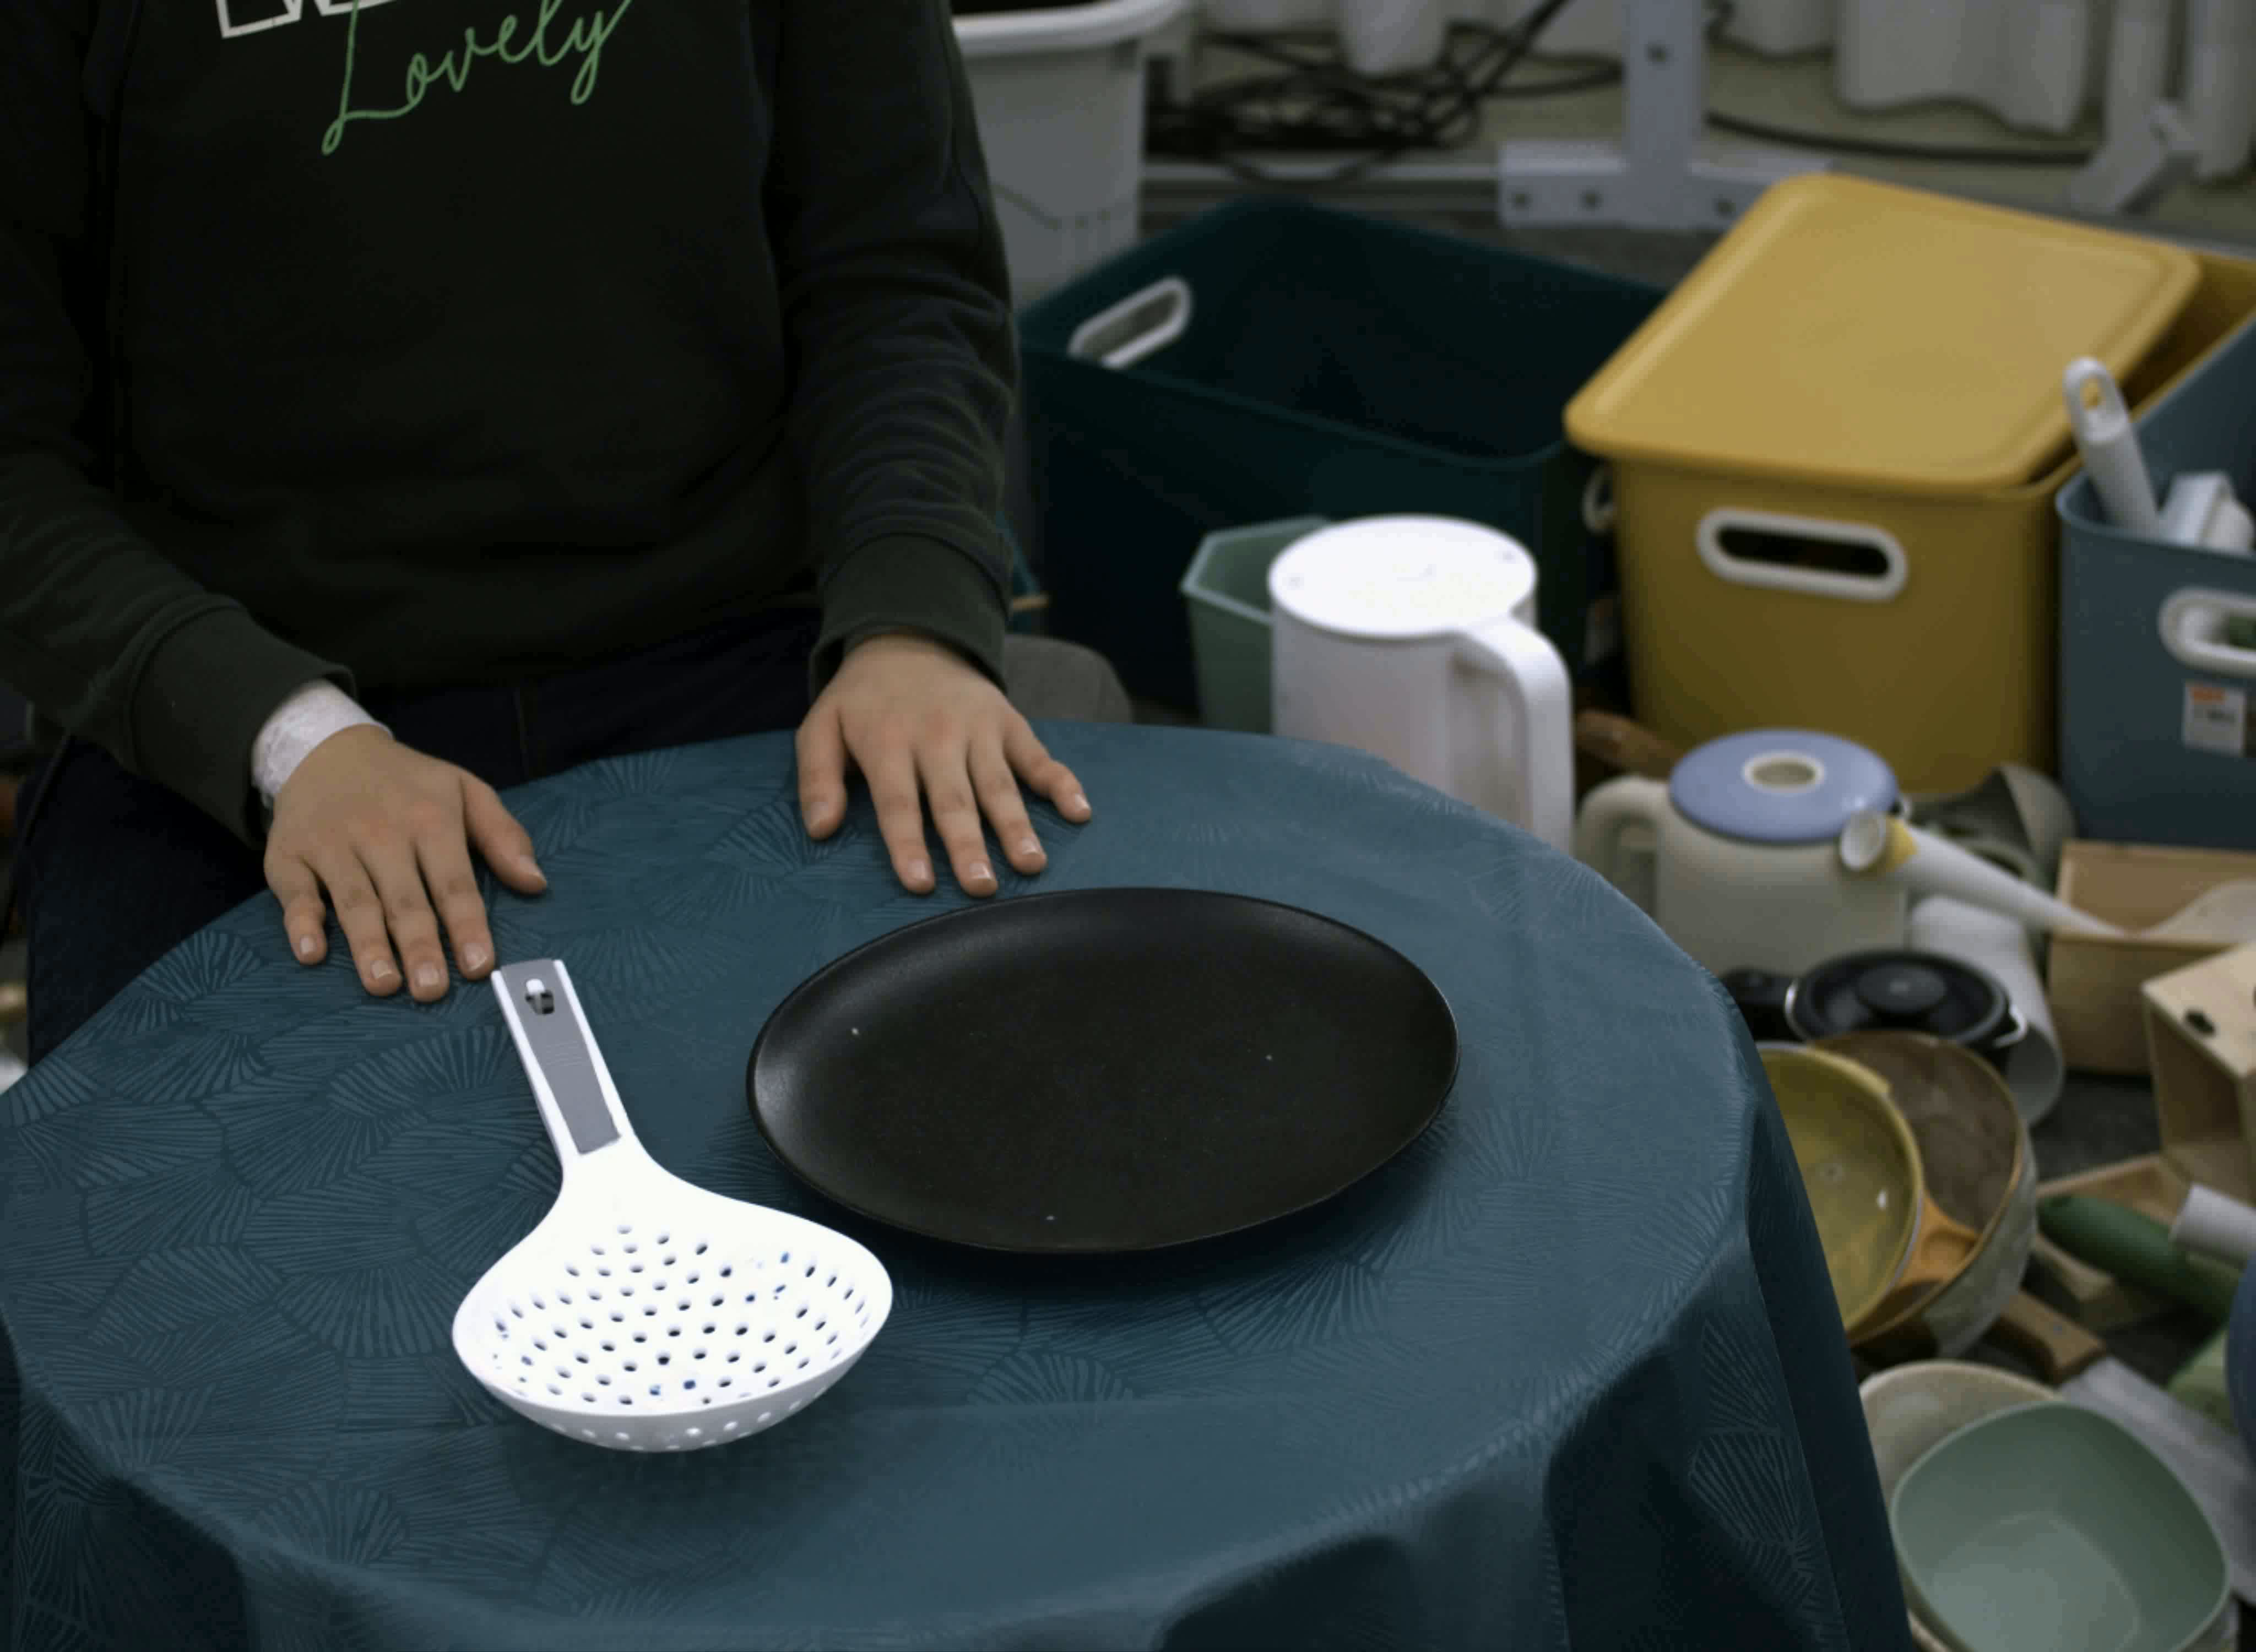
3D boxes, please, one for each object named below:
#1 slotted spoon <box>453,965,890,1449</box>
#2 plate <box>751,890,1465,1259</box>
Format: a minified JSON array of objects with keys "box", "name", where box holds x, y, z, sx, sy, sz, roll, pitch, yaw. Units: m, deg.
[{"box":[-0.168,0.118,1.836,0.136,0.045,0.353,-7,27,-13],"name":"slotted spoon"},{"box":[-0.007,0.088,1.902,0.243,0.023,0.248,-2,27,2],"name":"plate"}]
